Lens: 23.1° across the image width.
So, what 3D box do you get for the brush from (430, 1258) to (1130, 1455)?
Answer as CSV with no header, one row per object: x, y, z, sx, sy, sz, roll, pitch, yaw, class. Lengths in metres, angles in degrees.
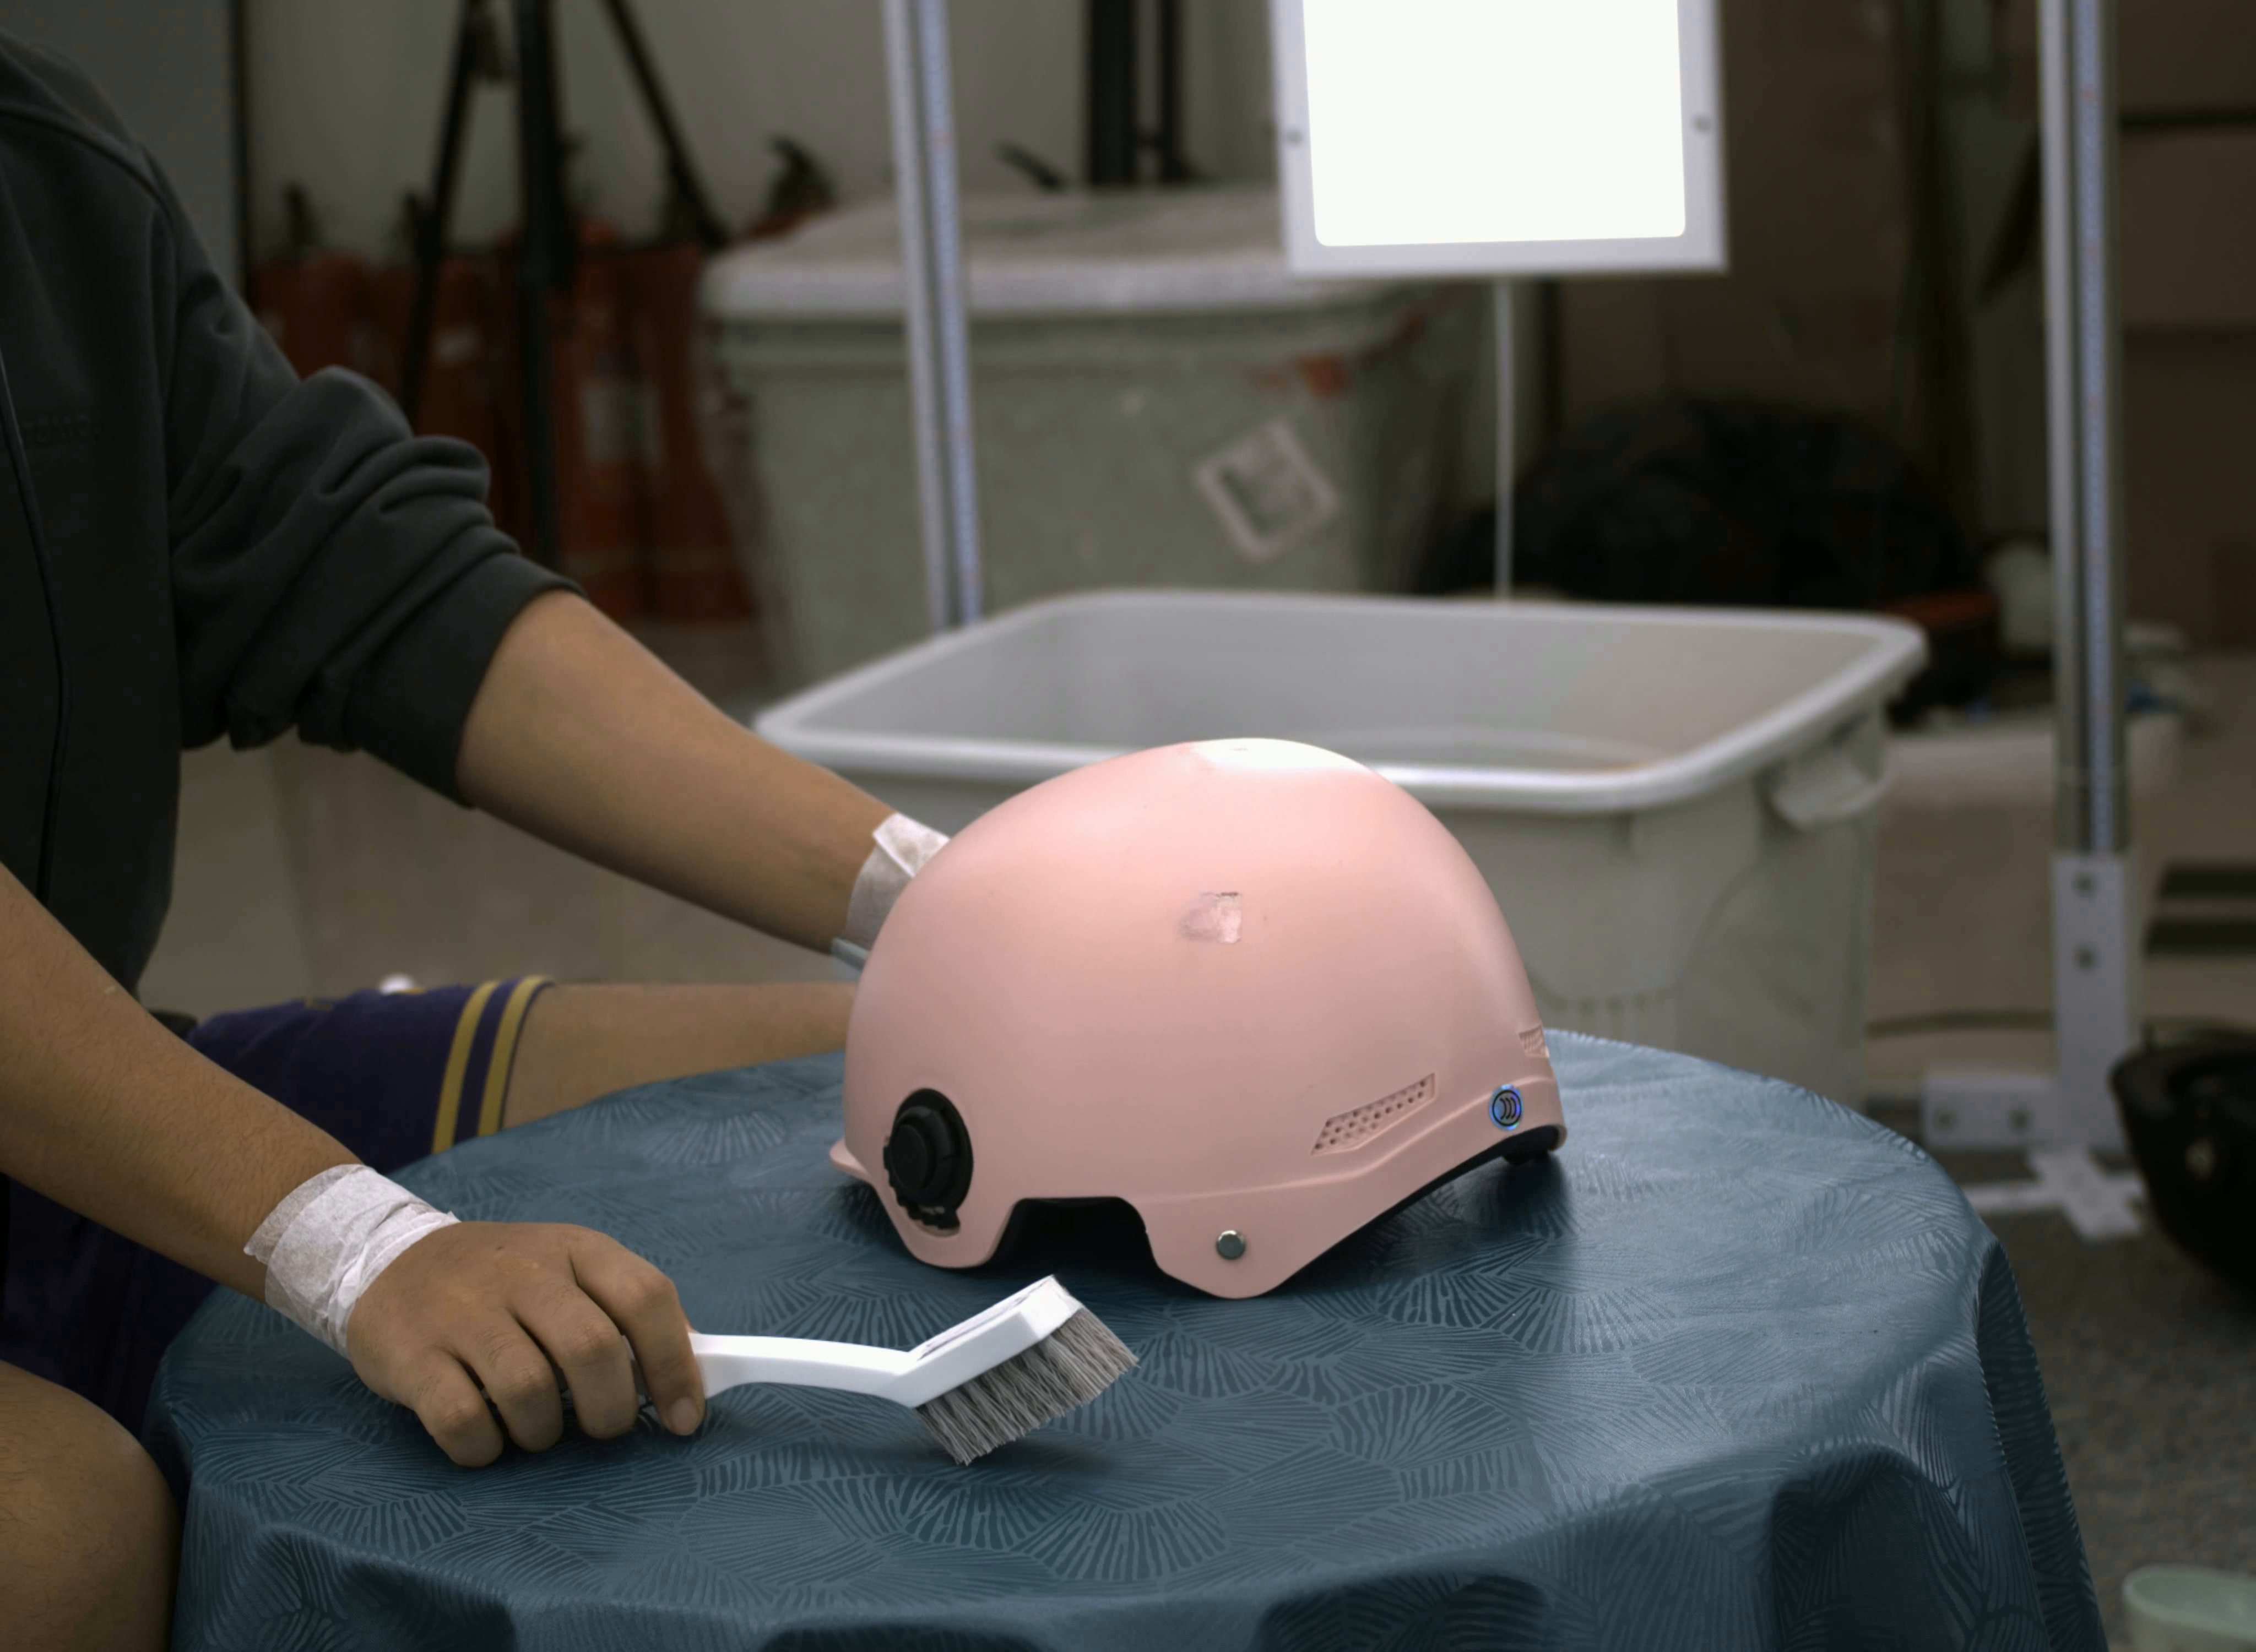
-0.109,0.175,1.690,0.248,0.050,0.034,-13,14,31,brush

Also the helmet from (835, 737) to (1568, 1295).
0.014,0.052,1.880,0.272,0.159,0.228,1,16,41,helmet
